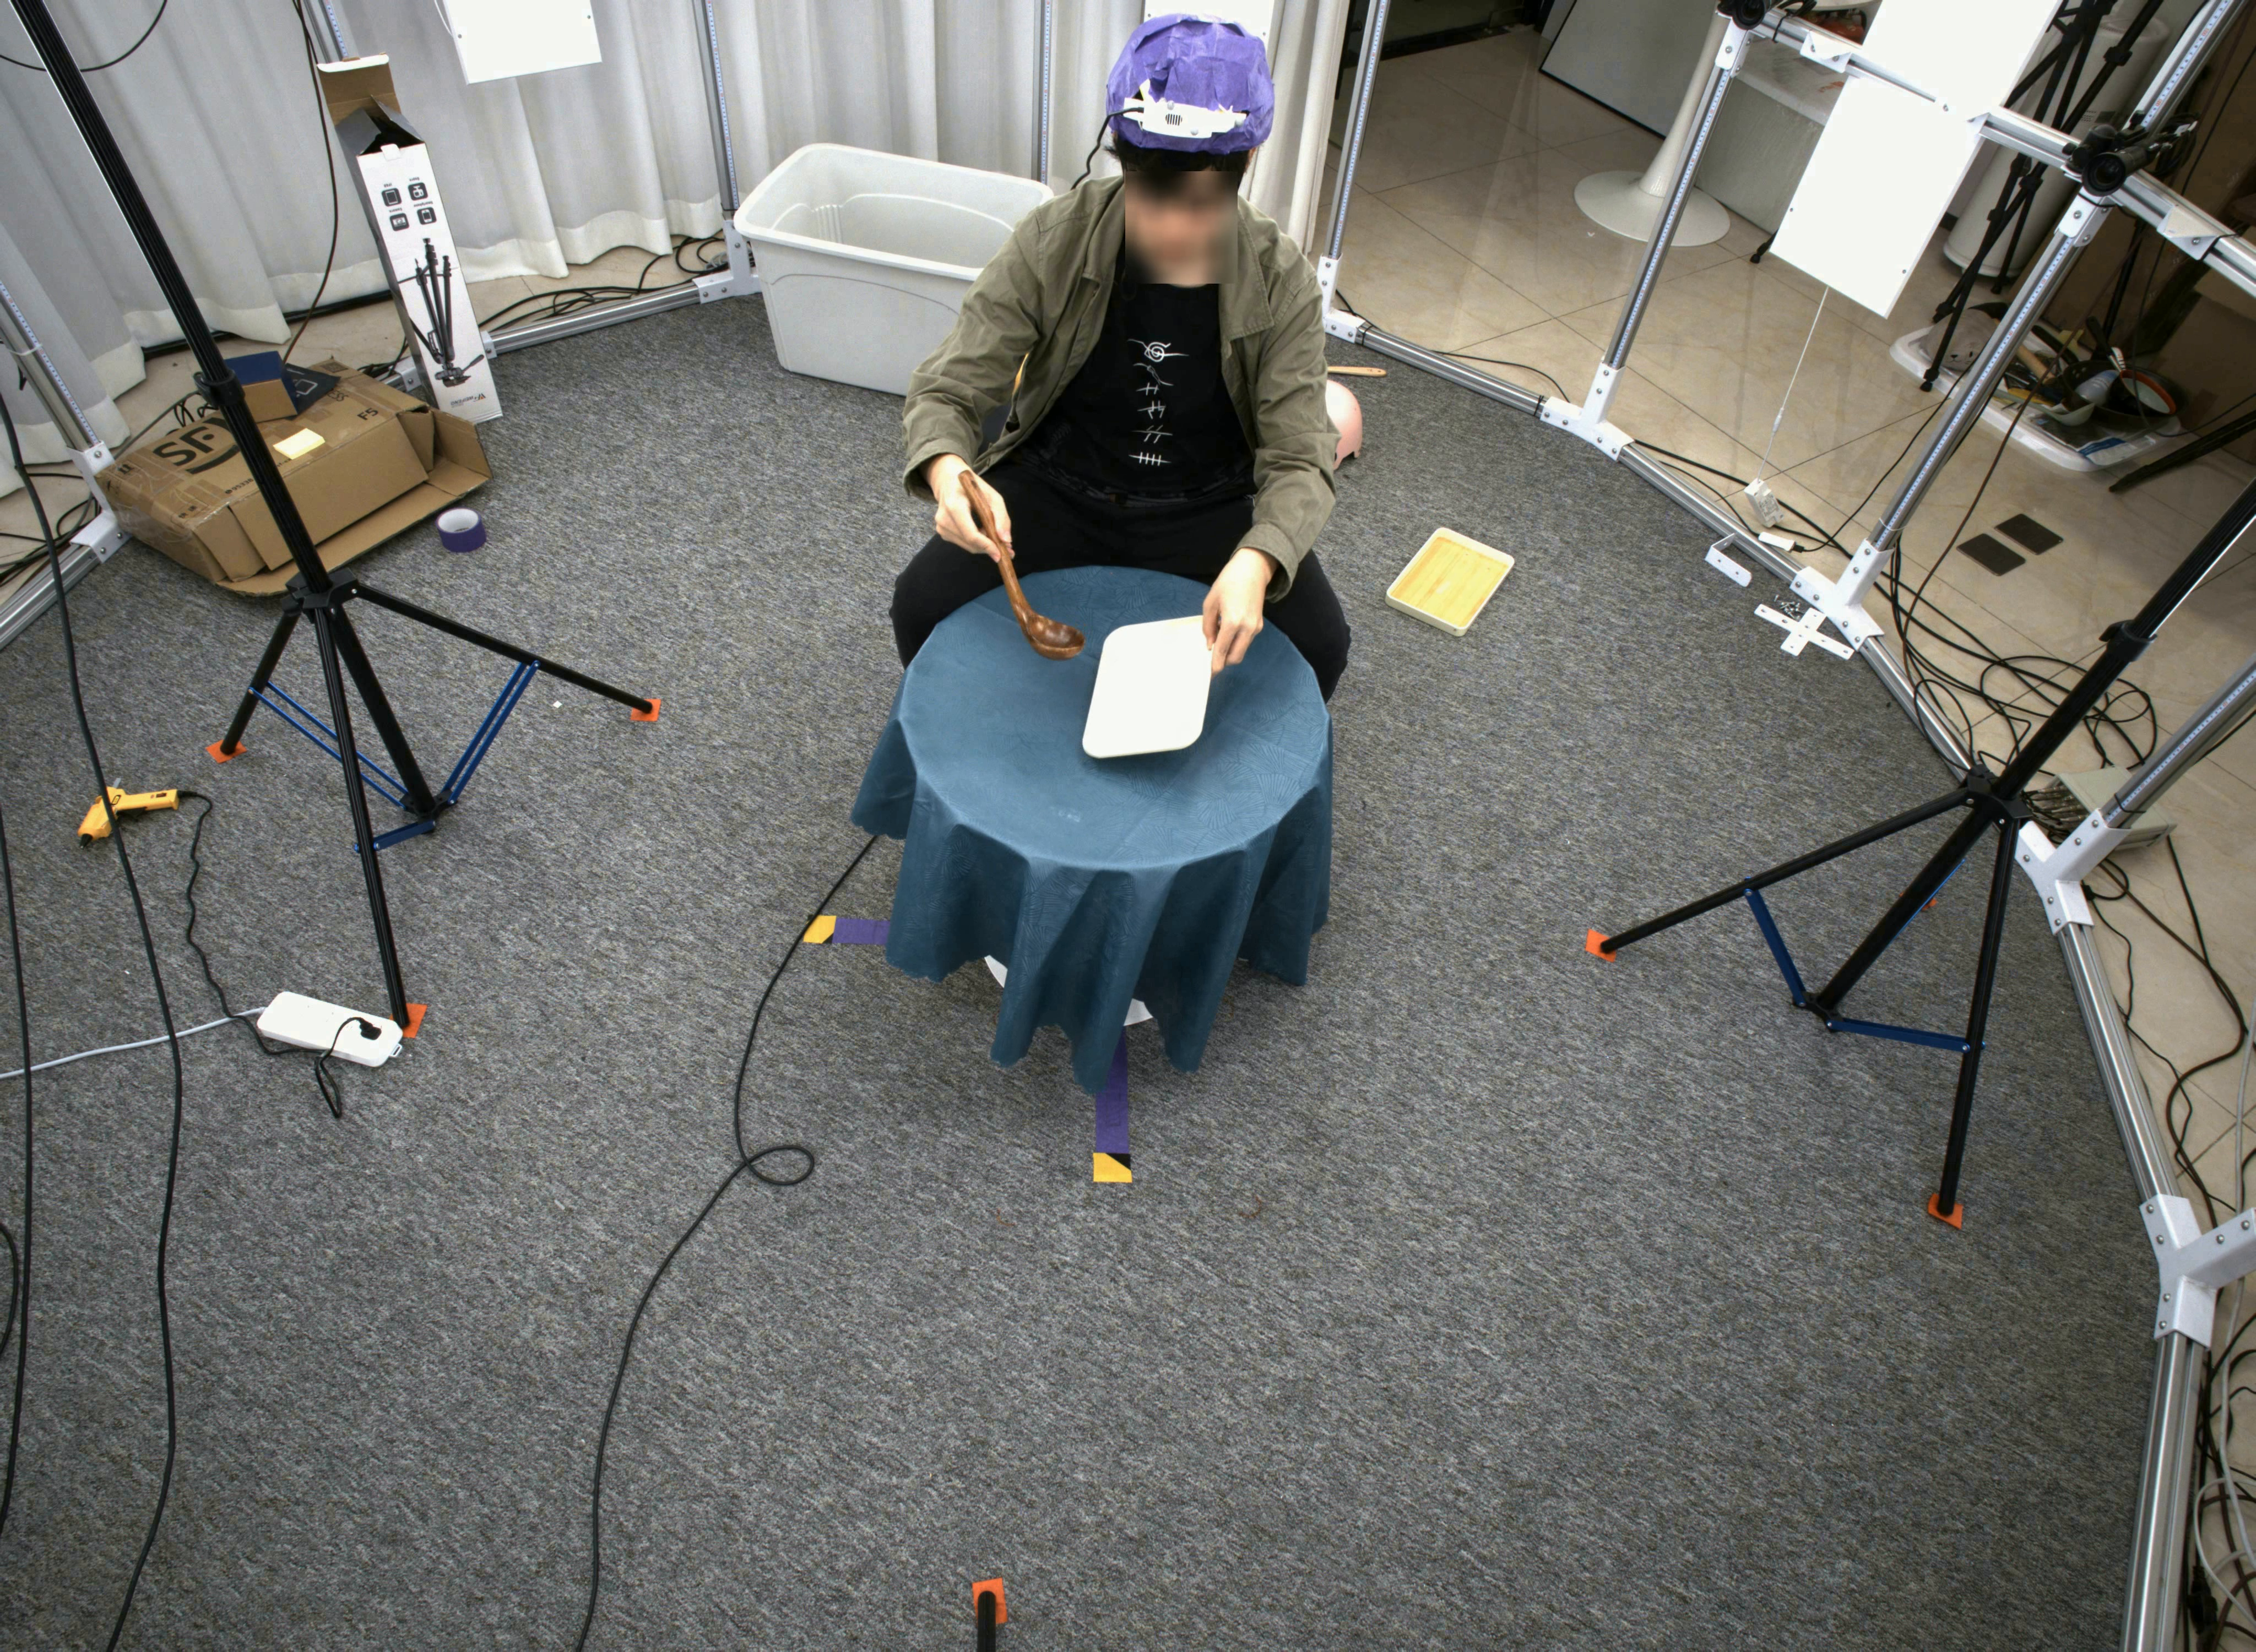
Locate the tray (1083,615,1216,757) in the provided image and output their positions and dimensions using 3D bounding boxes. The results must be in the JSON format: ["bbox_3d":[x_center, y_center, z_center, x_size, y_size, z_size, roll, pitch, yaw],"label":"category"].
[{"bbox_3d":[0.033,-0.191,1.760,0.171,0.017,0.245,-5,51,20],"label":"tray"}]

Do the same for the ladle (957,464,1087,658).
[{"bbox_3d":[-0.133,-0.341,1.655,0.076,0.271,0.083,-17,15,20],"label":"ladle"}]
